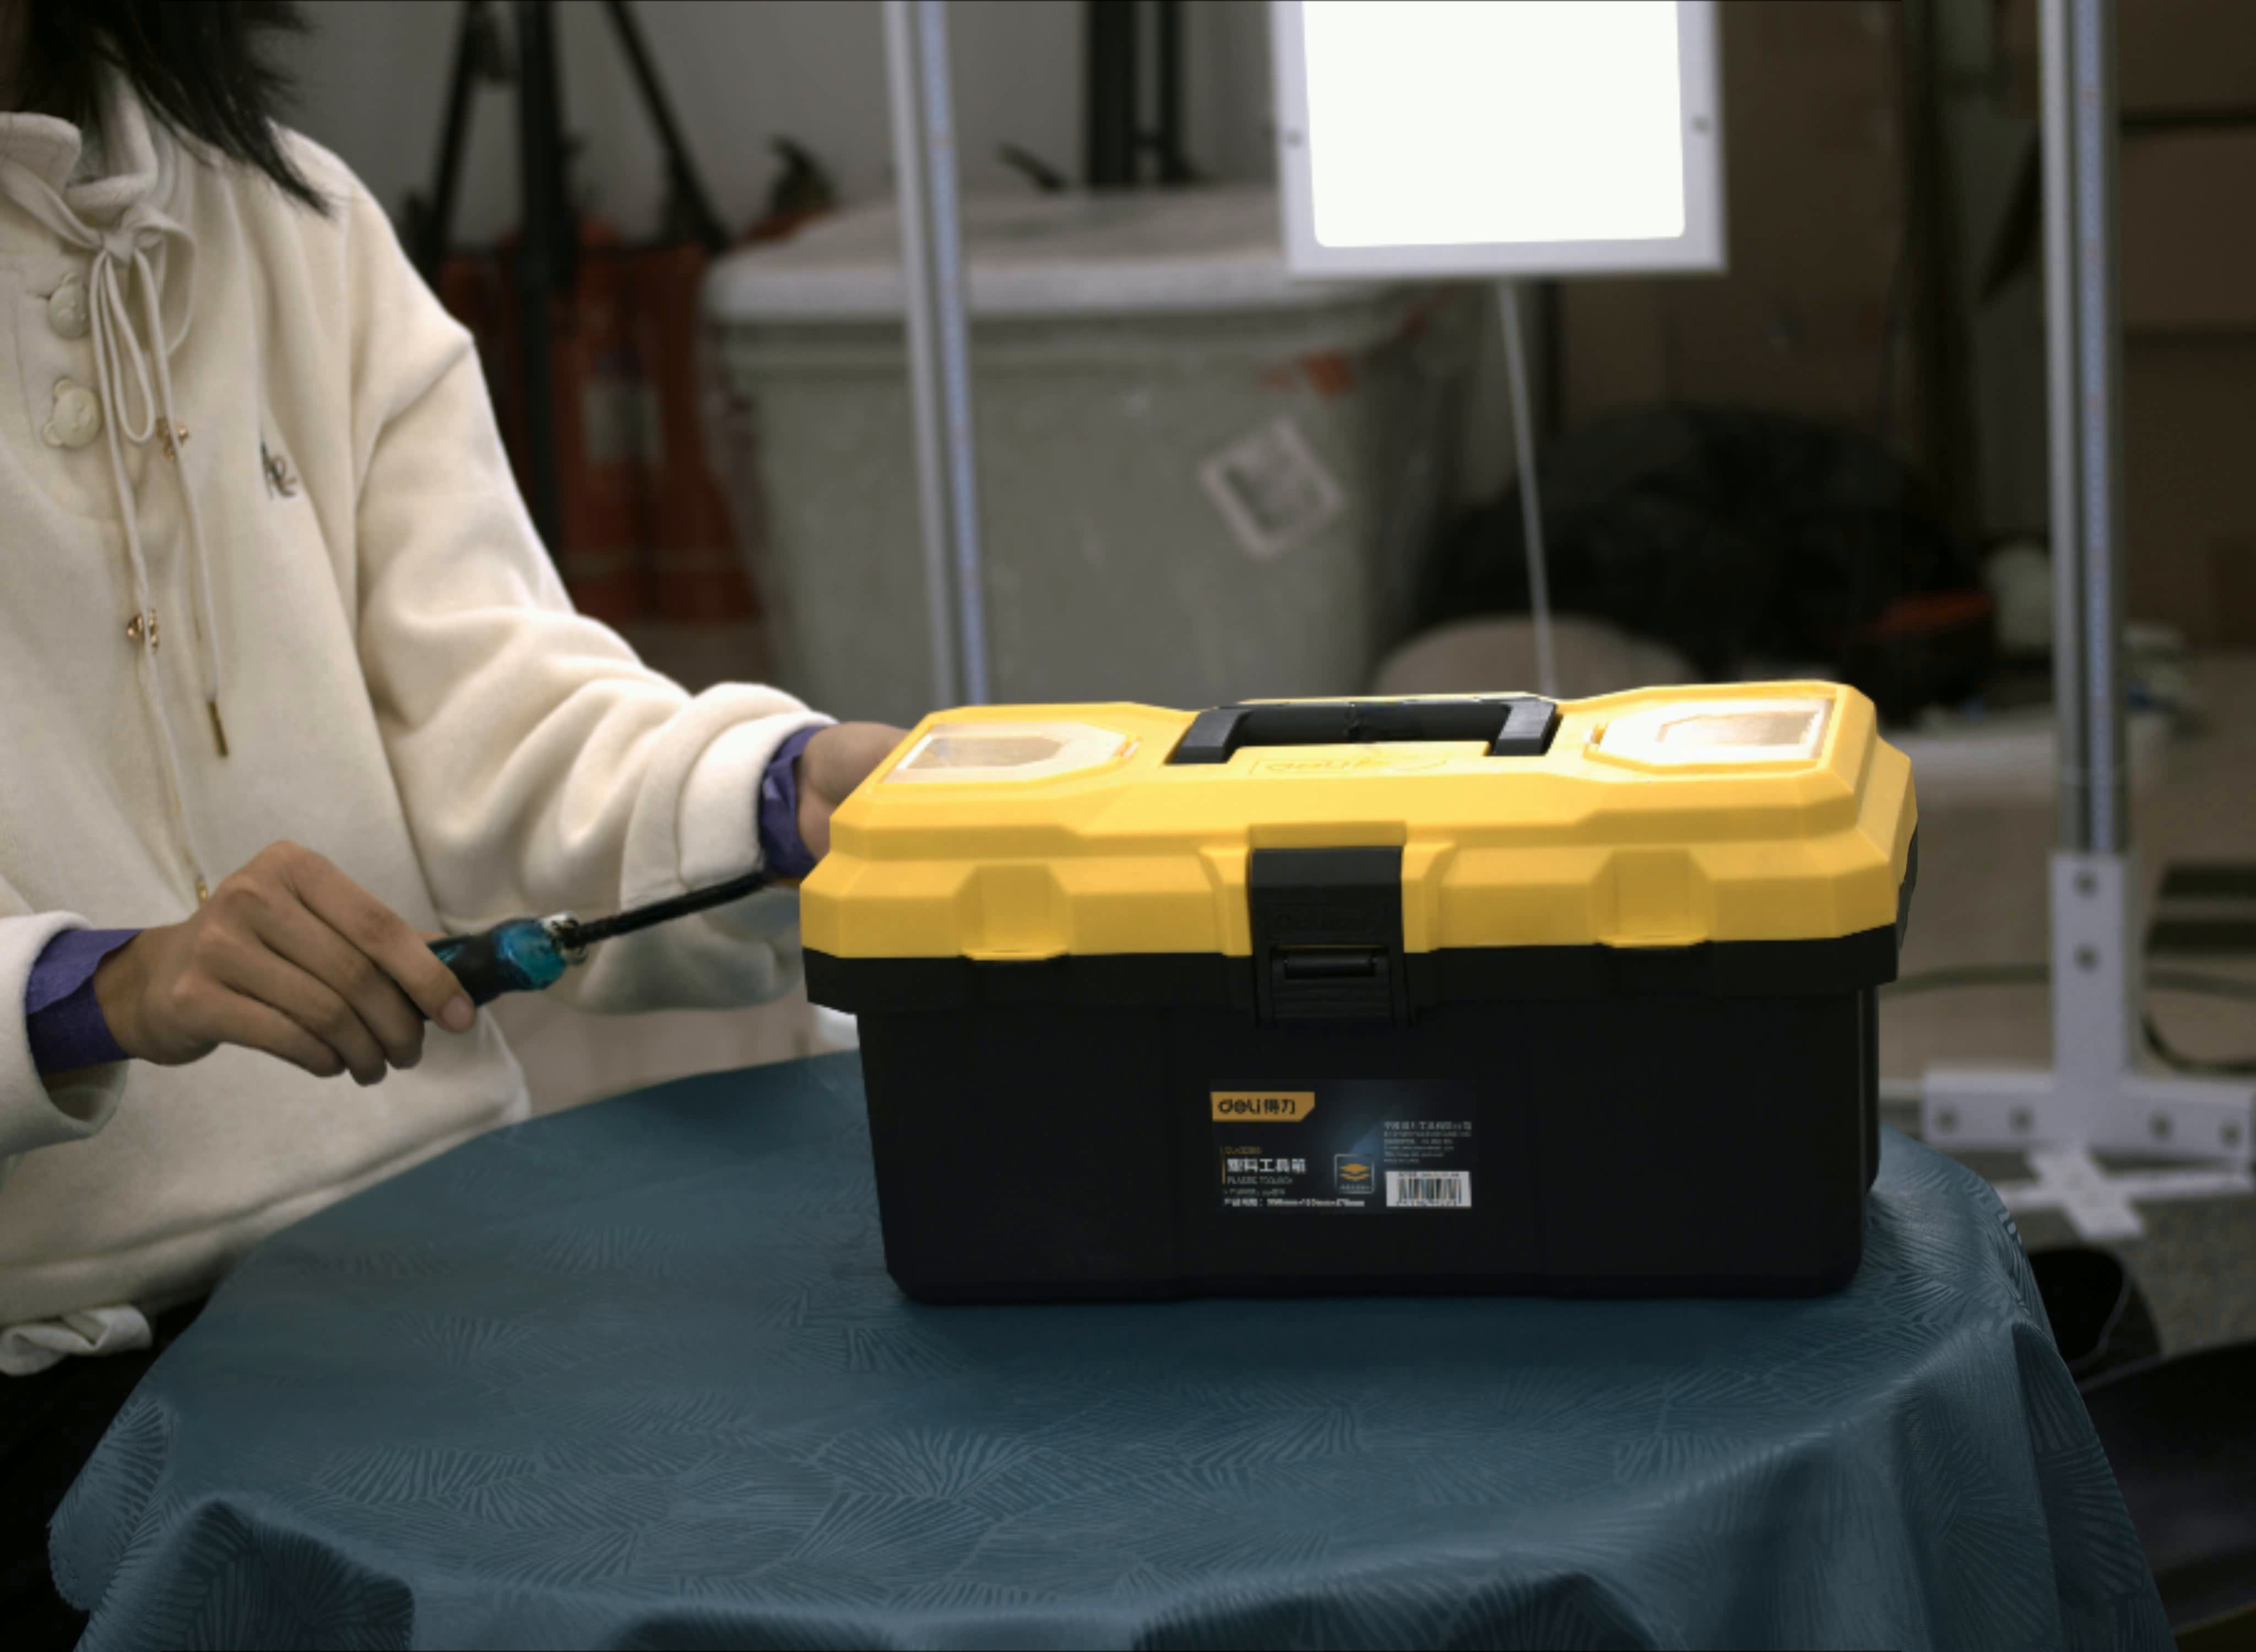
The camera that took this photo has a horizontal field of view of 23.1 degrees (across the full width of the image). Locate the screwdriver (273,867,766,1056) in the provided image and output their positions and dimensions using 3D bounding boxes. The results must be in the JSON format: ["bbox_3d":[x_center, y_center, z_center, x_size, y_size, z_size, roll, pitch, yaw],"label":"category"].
[{"bbox_3d":[-0.196,0.041,1.780,0.193,0.034,0.033,-16,7,28],"label":"screwdriver"}]

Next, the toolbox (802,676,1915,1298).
[{"bbox_3d":[0.081,0.054,1.799,0.354,0.173,0.179,-1,14,14],"label":"toolbox"}]
